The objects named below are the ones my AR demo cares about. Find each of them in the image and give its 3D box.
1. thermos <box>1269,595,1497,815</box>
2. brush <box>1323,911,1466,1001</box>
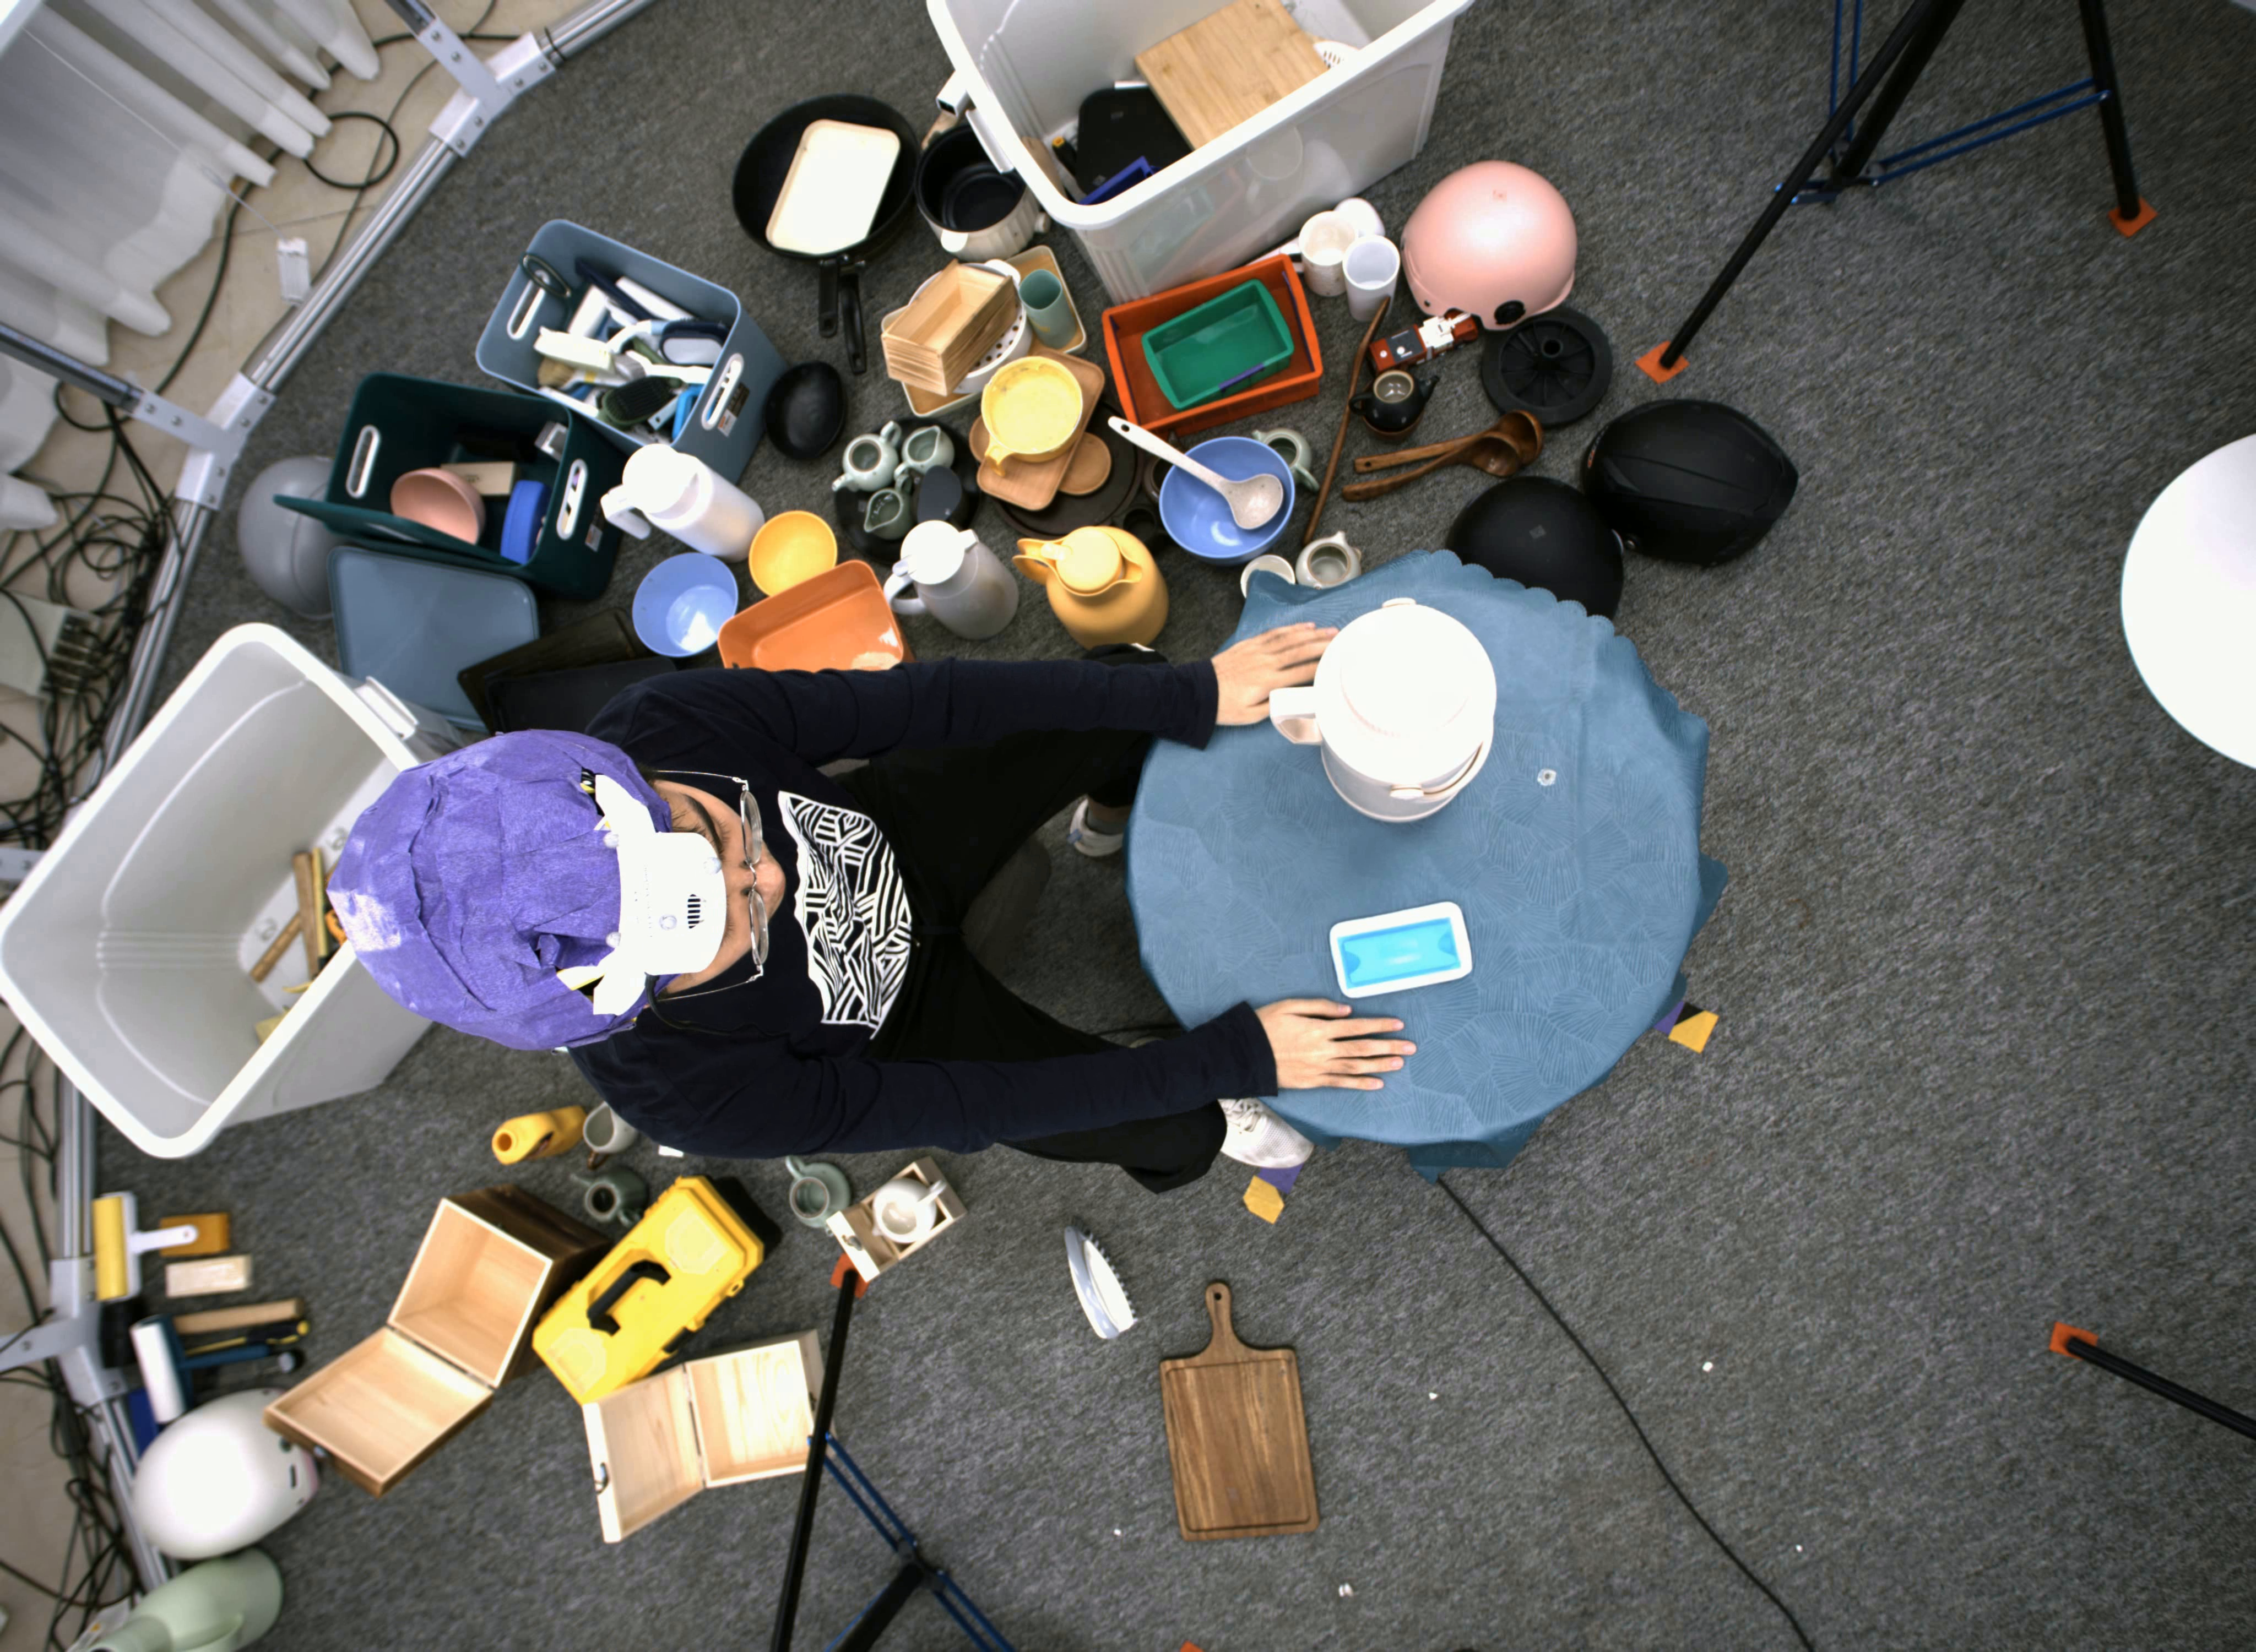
[{"bbox_3d":[0.241,-0.108,1.272,0.208,0.406,0.174,-3,86,11],"label":"thermos"},{"bbox_3d":[0.274,0.129,1.424,0.144,0.056,0.083,-9,82,7],"label":"brush"}]
